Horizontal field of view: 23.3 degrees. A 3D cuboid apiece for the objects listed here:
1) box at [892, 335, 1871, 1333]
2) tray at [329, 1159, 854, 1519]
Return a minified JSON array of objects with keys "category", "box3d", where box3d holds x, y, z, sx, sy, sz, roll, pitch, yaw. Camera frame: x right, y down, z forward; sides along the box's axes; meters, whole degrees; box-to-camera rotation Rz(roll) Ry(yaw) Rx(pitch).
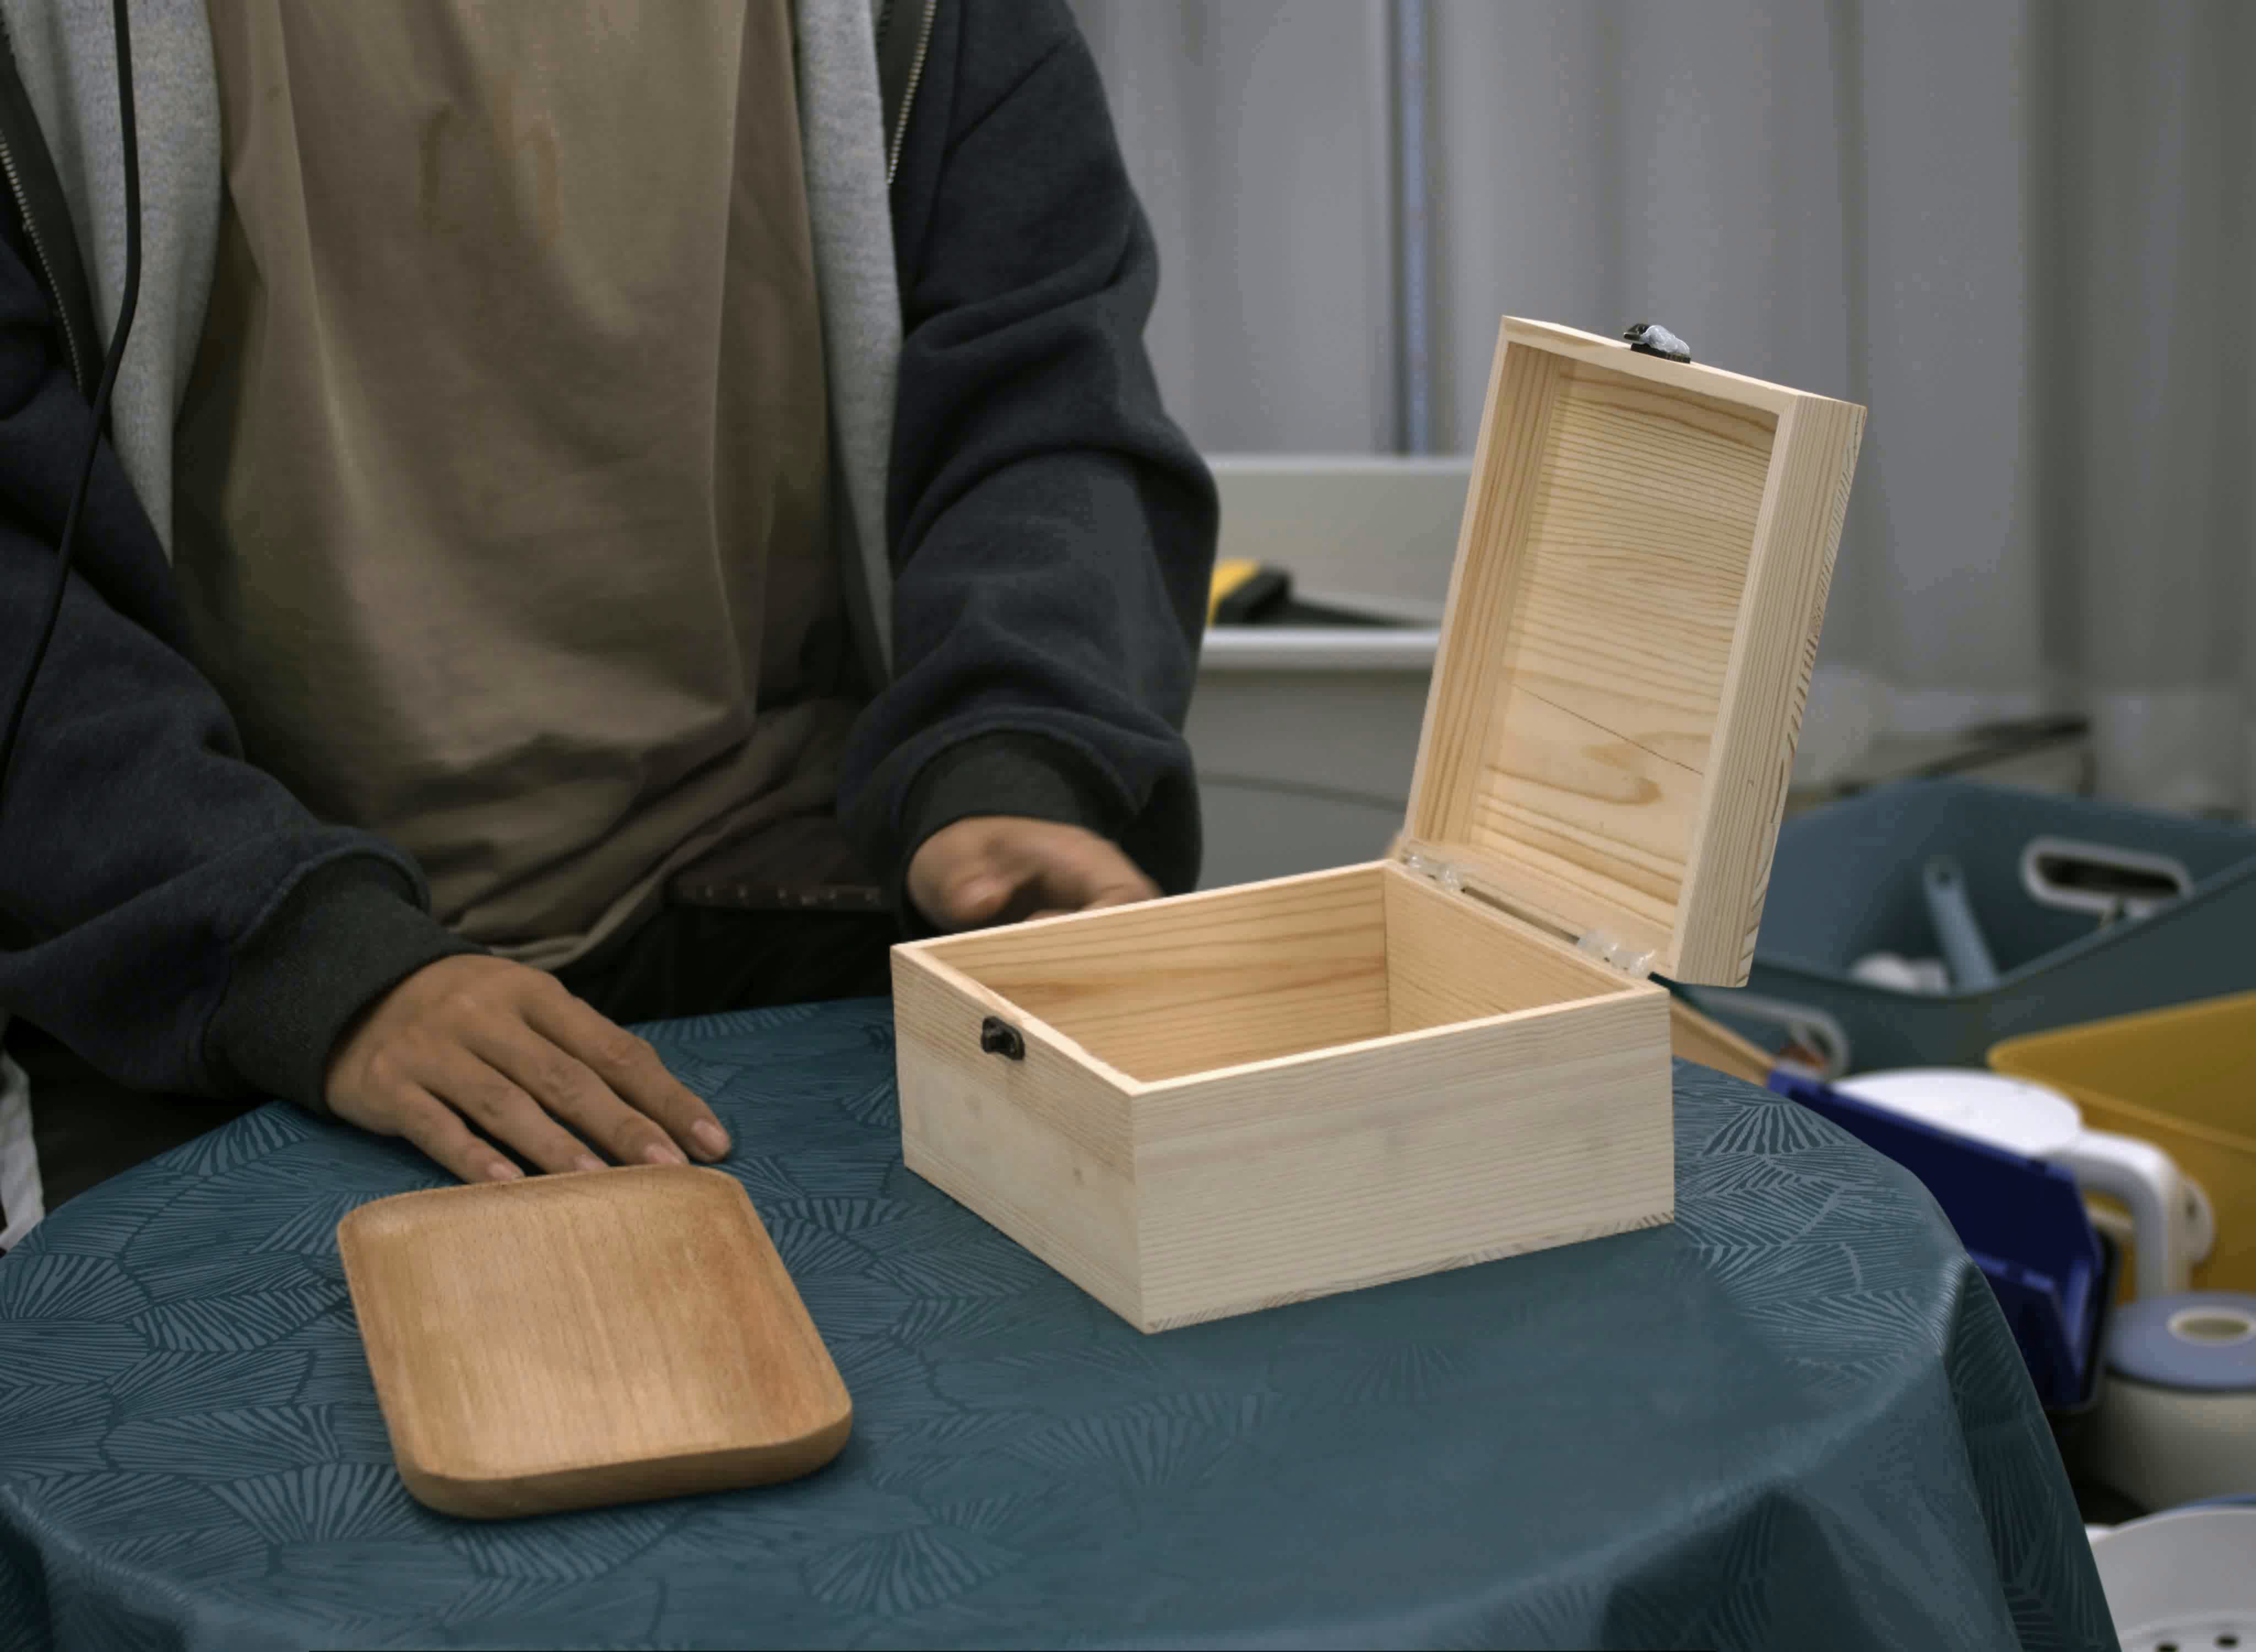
[{"category":"box","box3d":[0.073,-0.008,1.691,0.264,0.252,0.183,-8,12,-24]},{"category":"tray","box3d":[-0.160,0.146,1.594,0.130,0.023,0.252,-3,14,-12]}]
